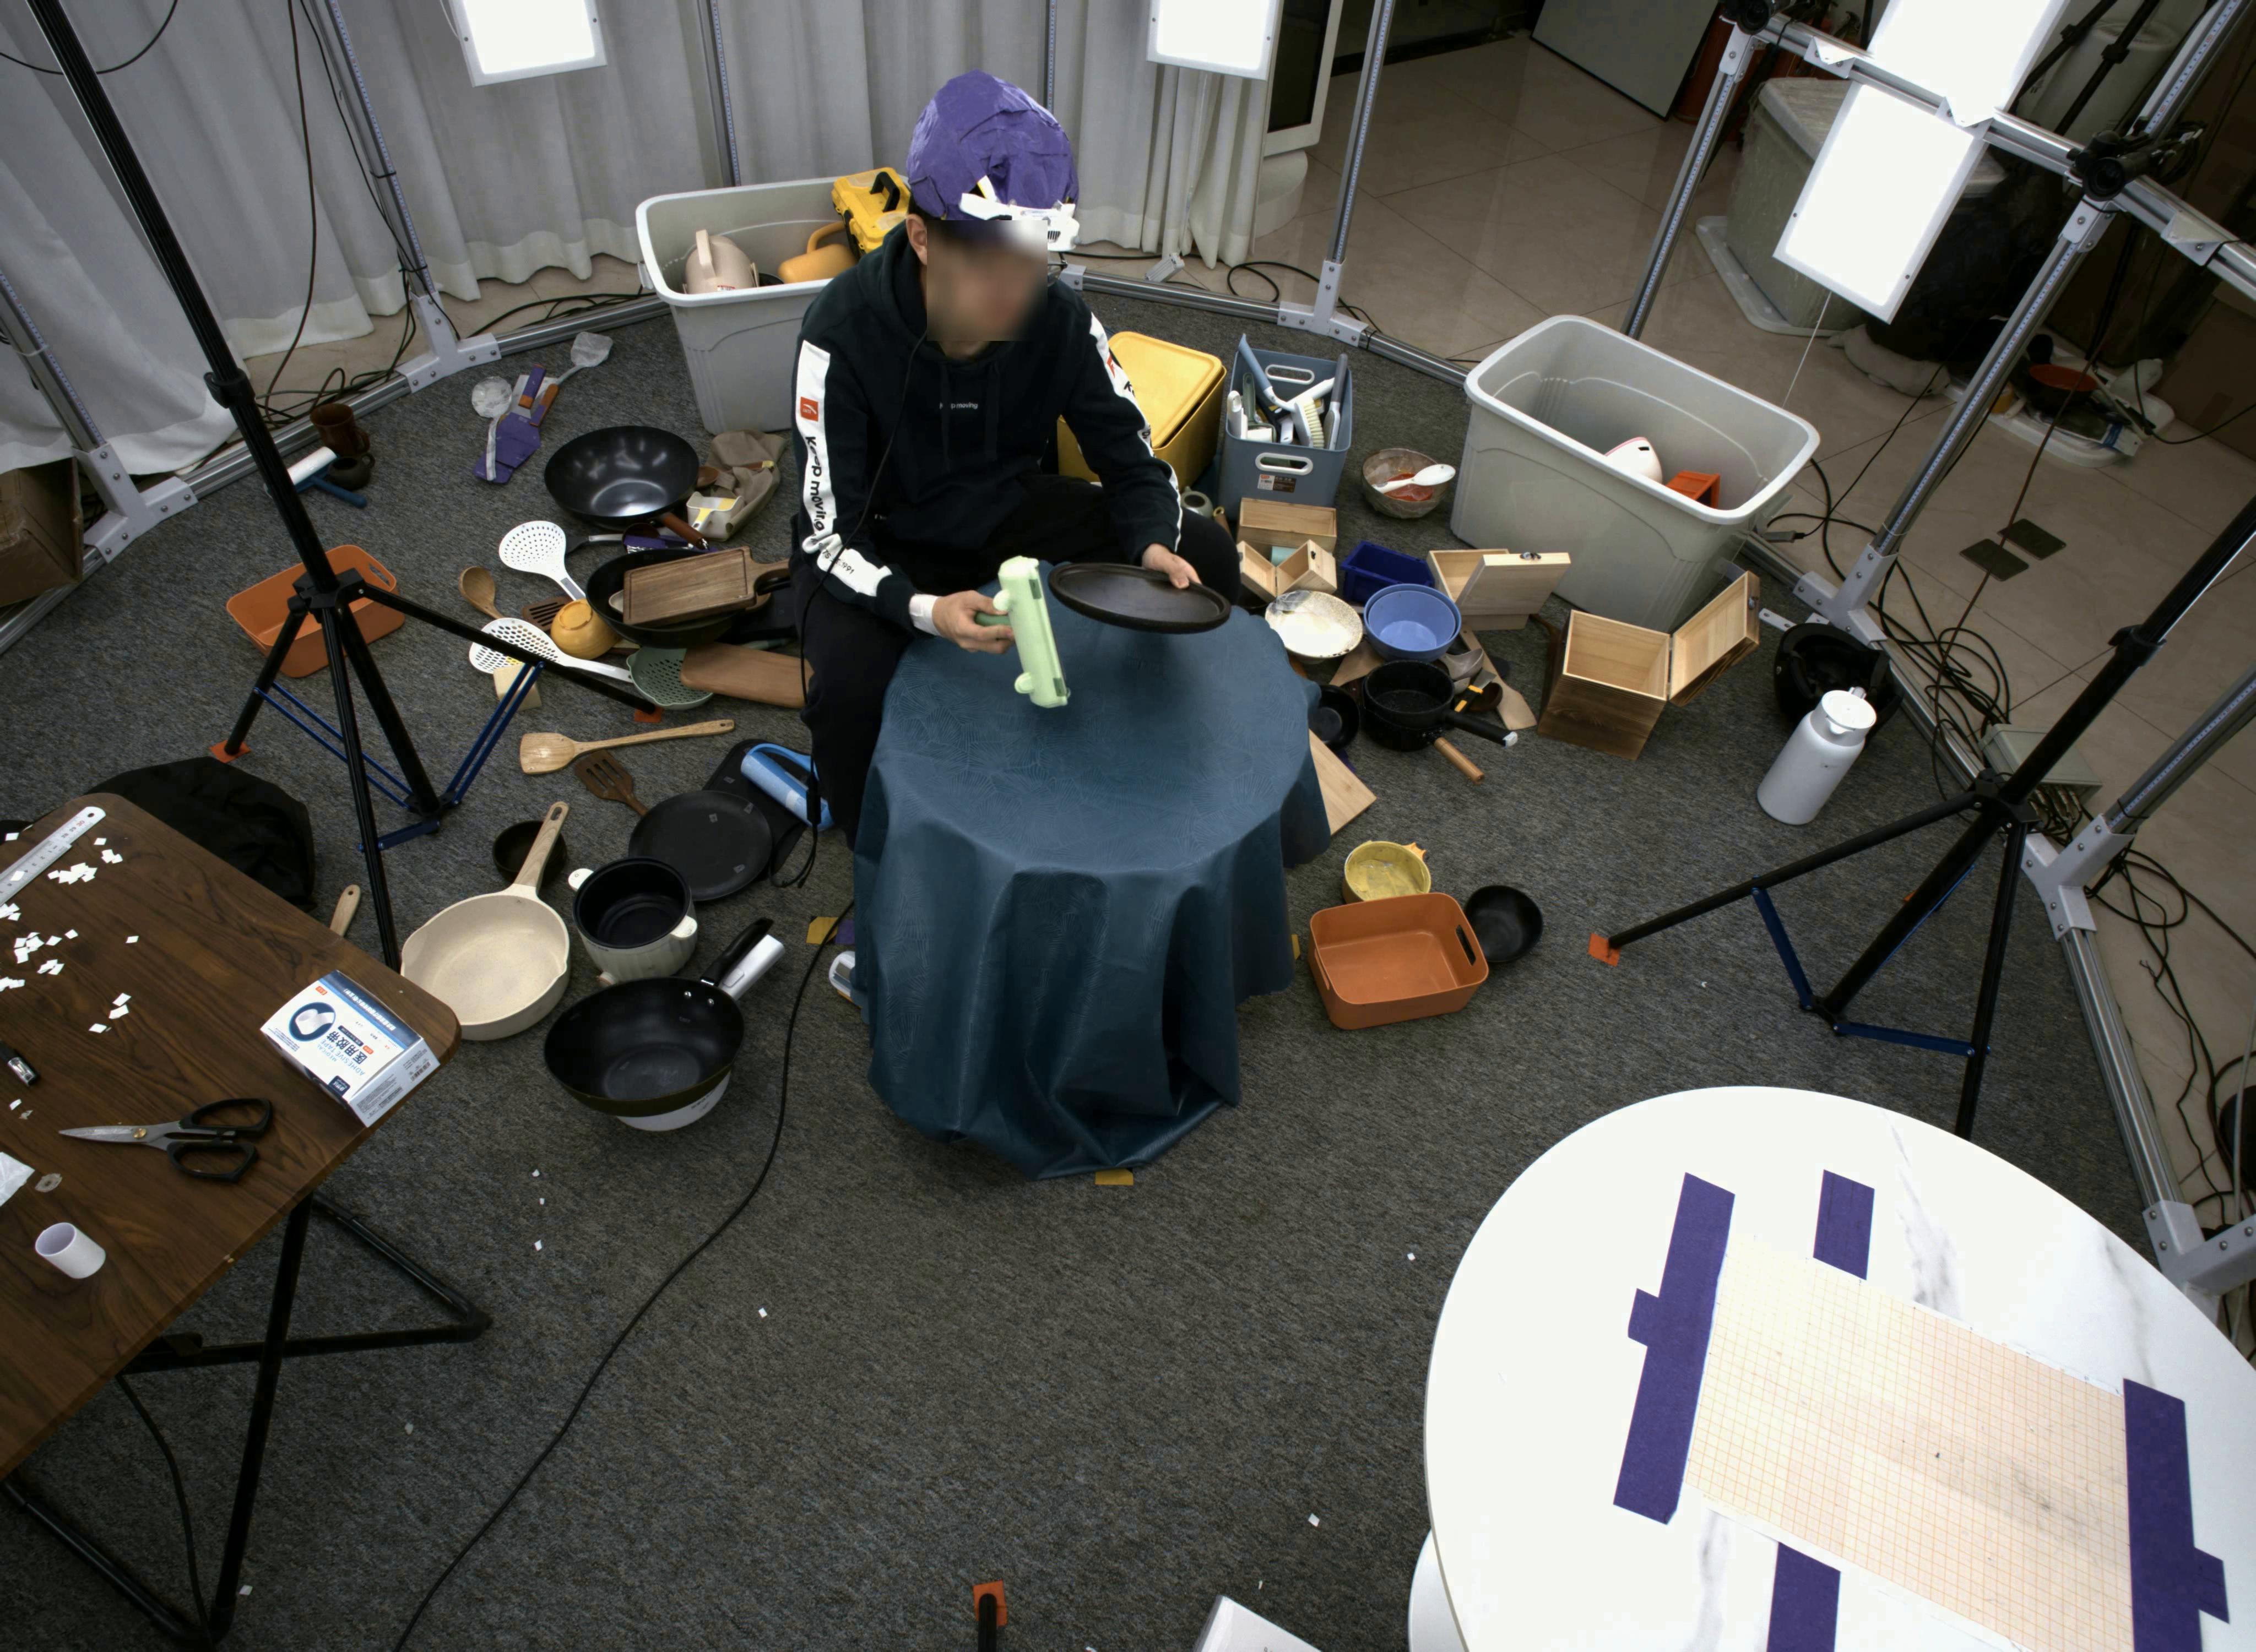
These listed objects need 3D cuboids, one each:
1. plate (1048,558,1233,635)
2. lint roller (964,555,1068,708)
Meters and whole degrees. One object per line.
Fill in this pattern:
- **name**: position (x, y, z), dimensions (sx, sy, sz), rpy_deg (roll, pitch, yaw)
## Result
- **plate**: position (0.016, -0.309, 1.739), dimensions (0.254, 0.028, 0.260), rpy_deg (8, 26, -4)
- **lint roller**: position (-0.169, -0.255, 1.689), dimensions (0.185, 0.194, 0.083), rpy_deg (12, 37, 38)
